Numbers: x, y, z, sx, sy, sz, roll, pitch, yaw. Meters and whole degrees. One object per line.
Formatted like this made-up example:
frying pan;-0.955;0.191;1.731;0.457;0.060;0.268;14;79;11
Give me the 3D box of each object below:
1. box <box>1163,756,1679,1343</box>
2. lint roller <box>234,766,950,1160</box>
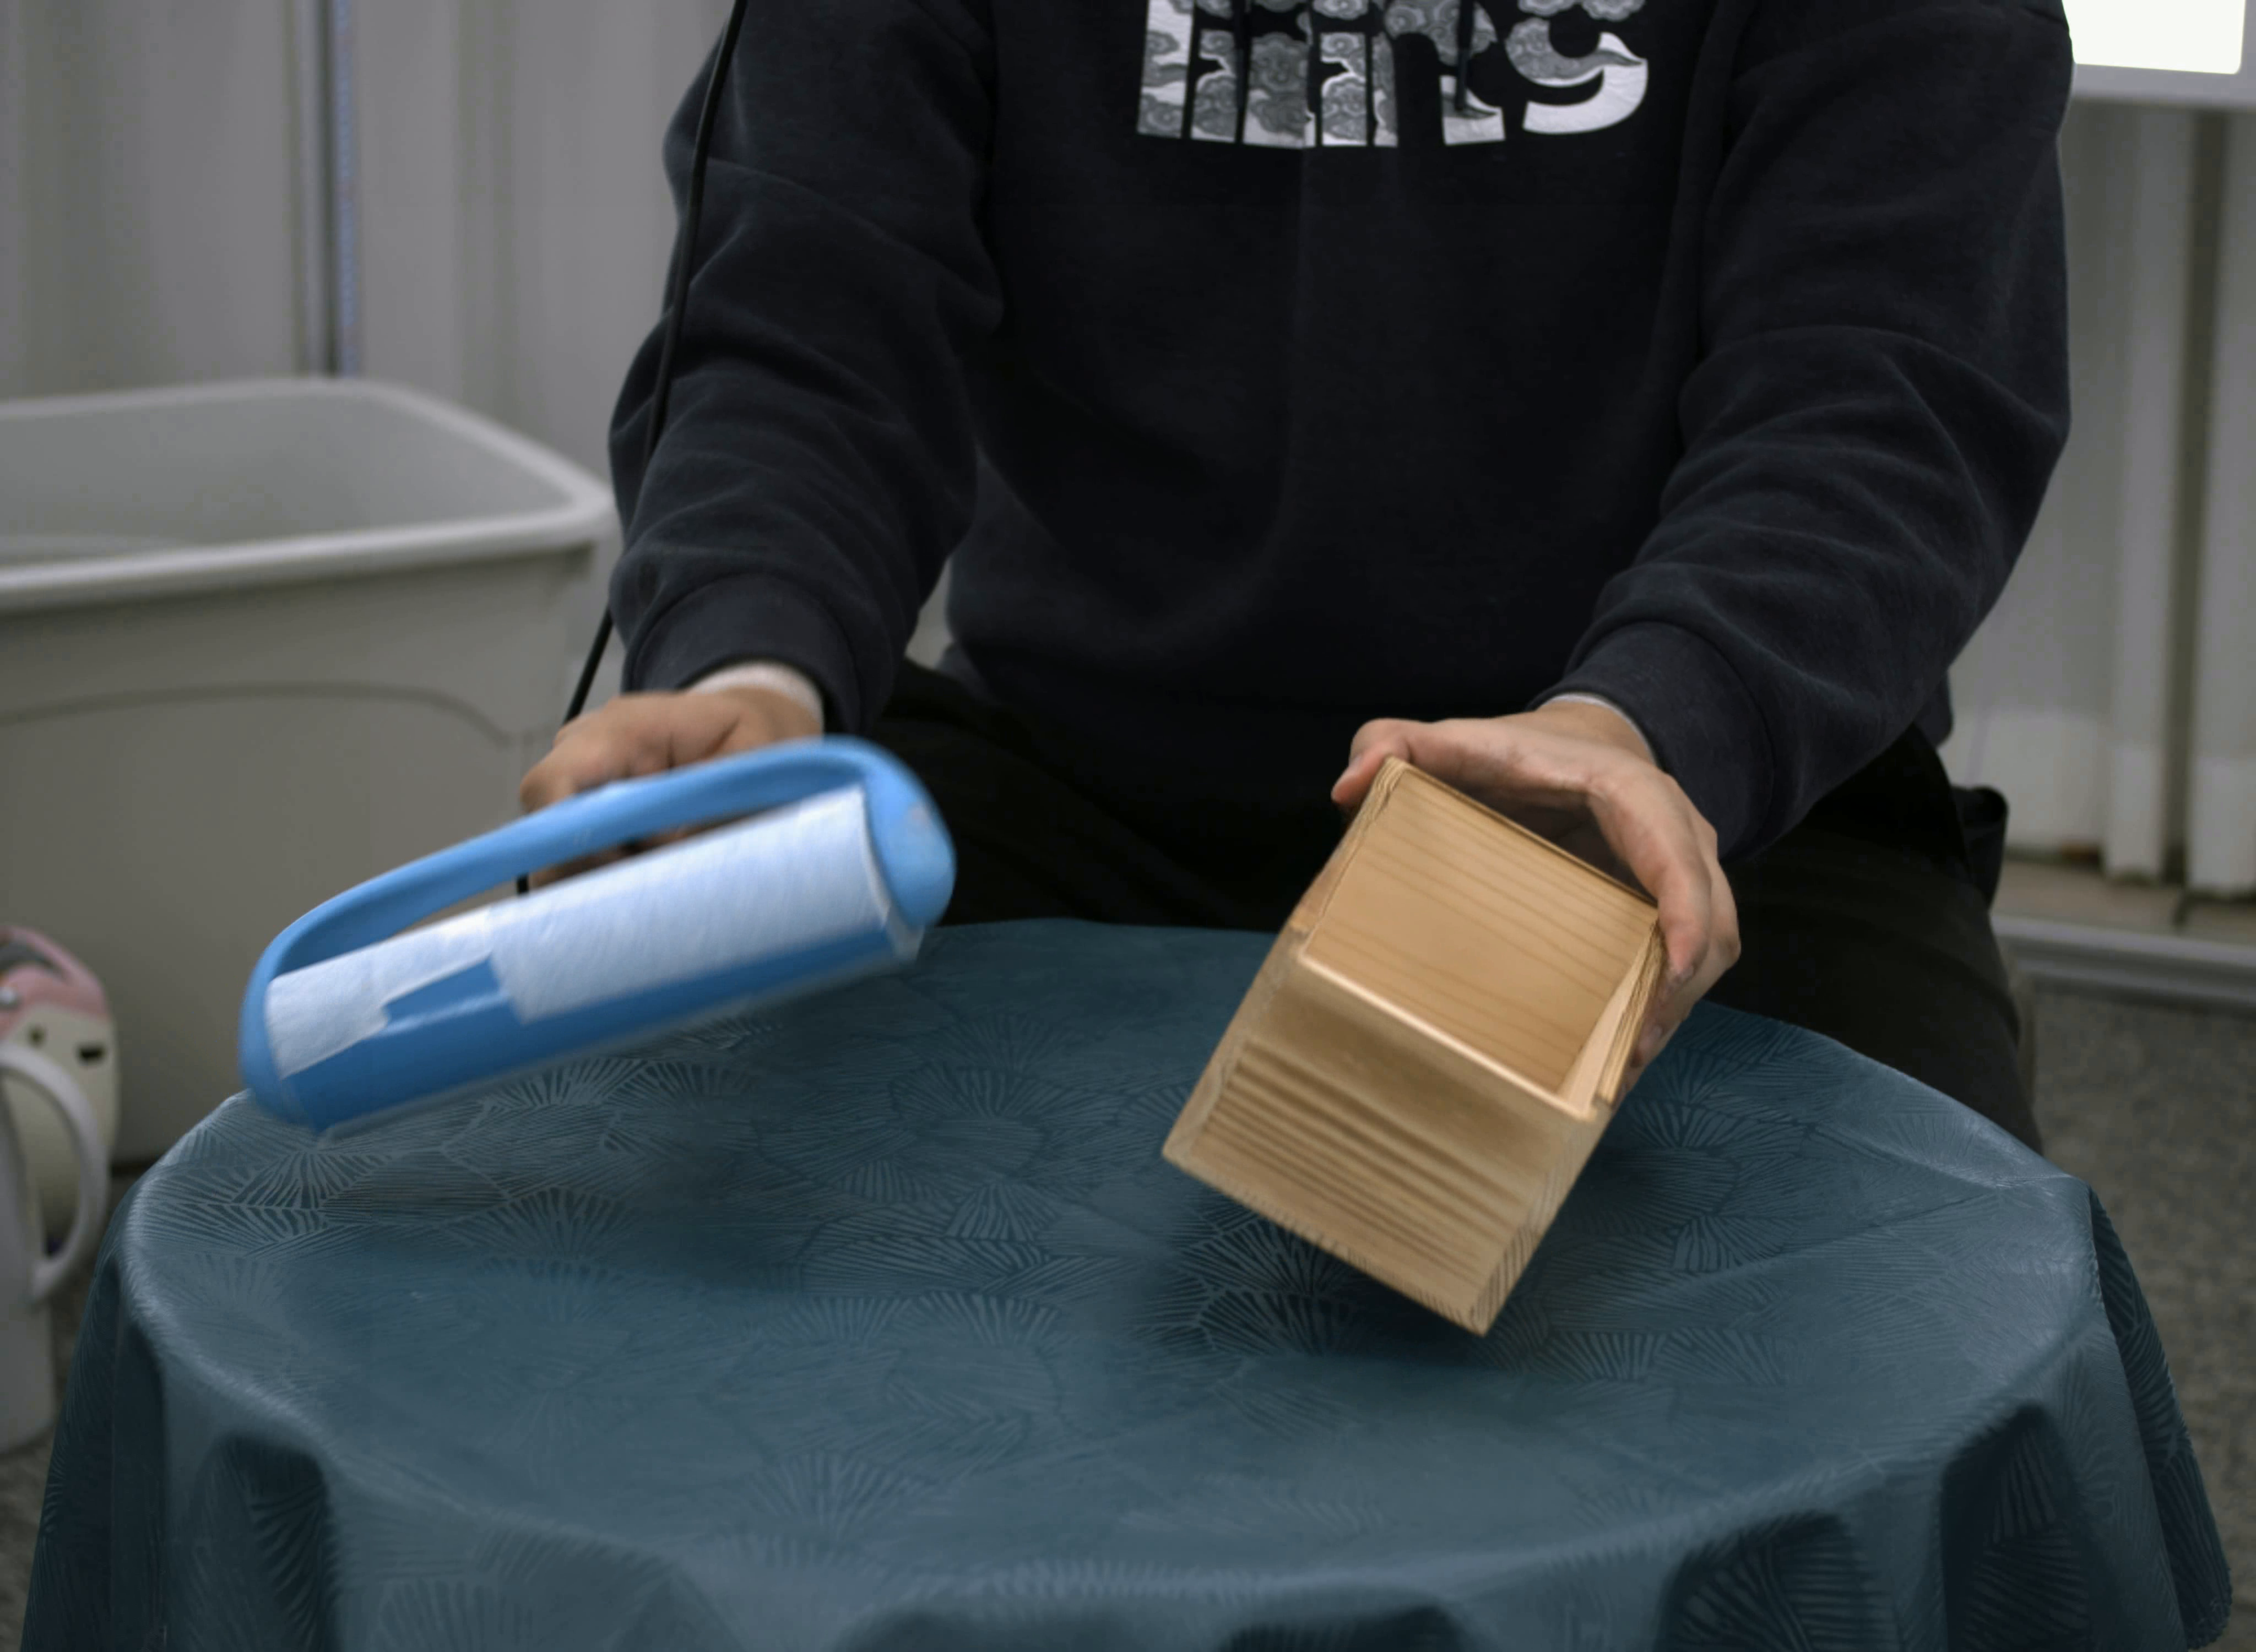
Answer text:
box;0.092;0.062;1.569;0.107;0.080;0.211;29;18;2
lint roller;-0.162;0.025;1.637;0.228;0.068;0.179;-19;21;8
